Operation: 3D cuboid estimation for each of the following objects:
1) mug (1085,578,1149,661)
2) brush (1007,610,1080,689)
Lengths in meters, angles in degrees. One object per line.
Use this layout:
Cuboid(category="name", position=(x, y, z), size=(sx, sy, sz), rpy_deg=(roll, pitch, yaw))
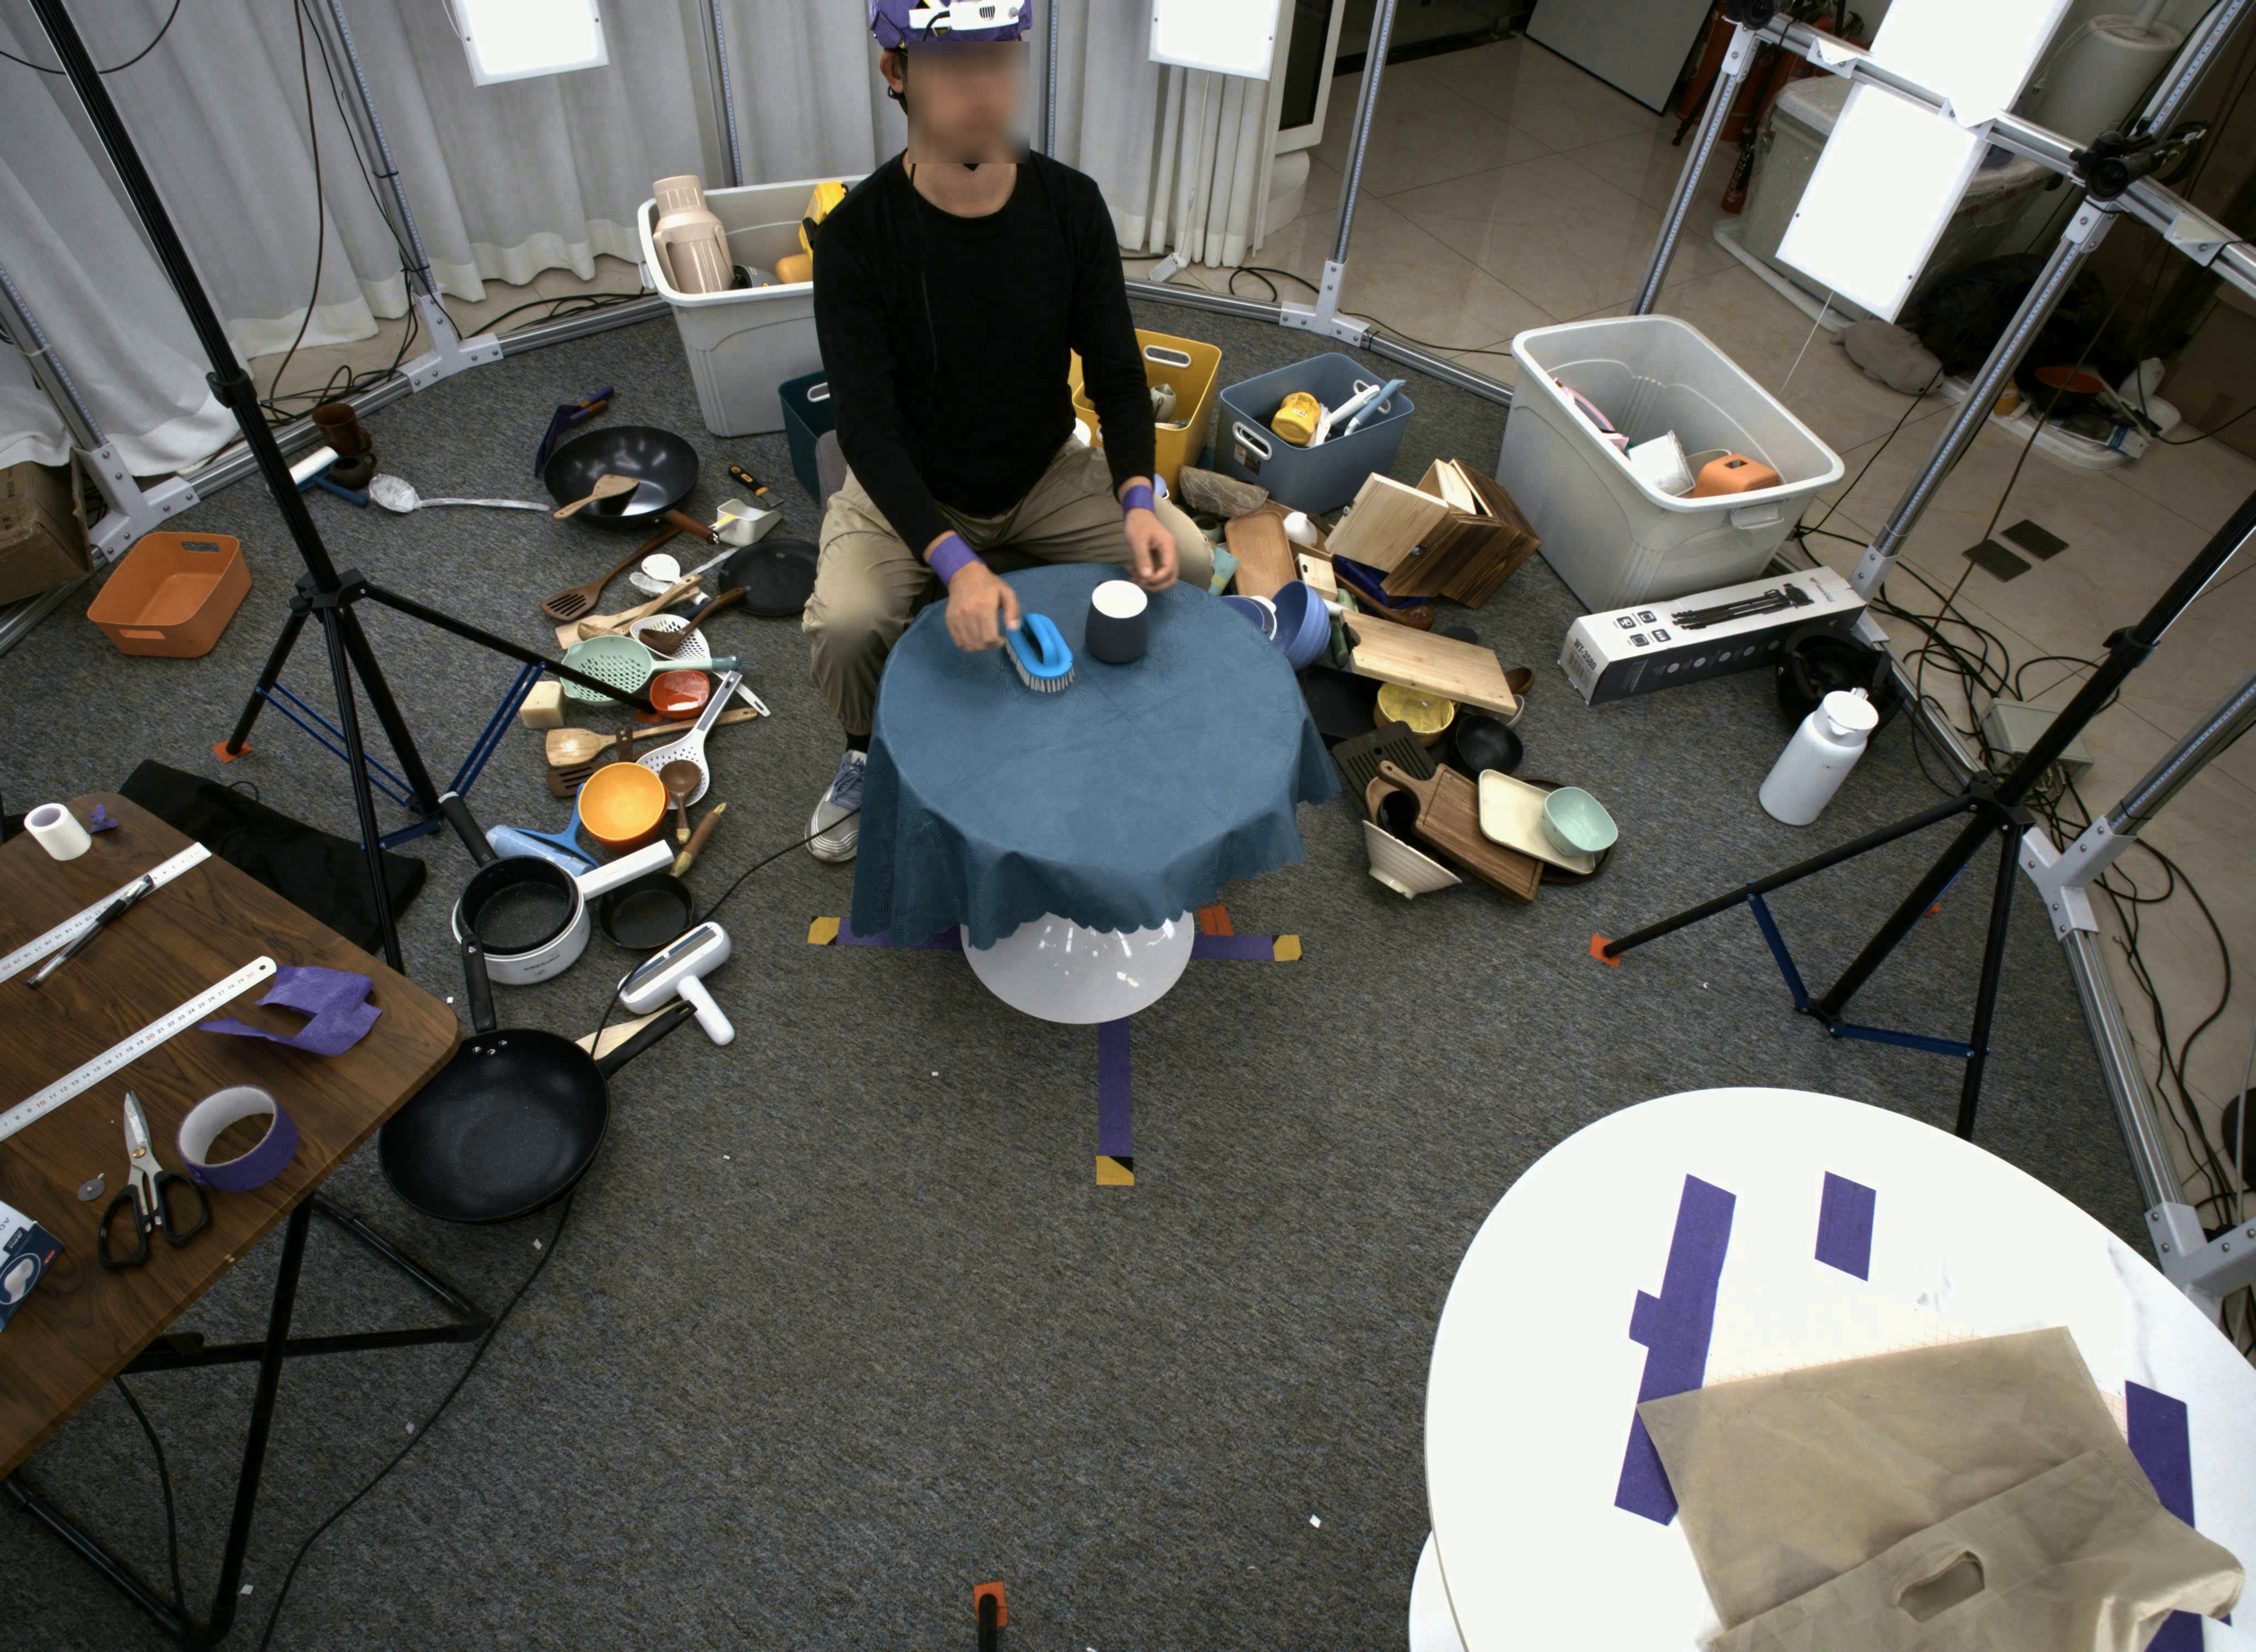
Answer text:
Cuboid(category="mug", position=(-0.018, -0.309, 1.872), size=(0.093, 0.088, 0.126), rpy_deg=(-10, 52, -14))
Cuboid(category="brush", position=(-0.124, -0.264, 1.844), size=(0.084, 0.062, 0.145), rpy_deg=(-18, 52, -13))
